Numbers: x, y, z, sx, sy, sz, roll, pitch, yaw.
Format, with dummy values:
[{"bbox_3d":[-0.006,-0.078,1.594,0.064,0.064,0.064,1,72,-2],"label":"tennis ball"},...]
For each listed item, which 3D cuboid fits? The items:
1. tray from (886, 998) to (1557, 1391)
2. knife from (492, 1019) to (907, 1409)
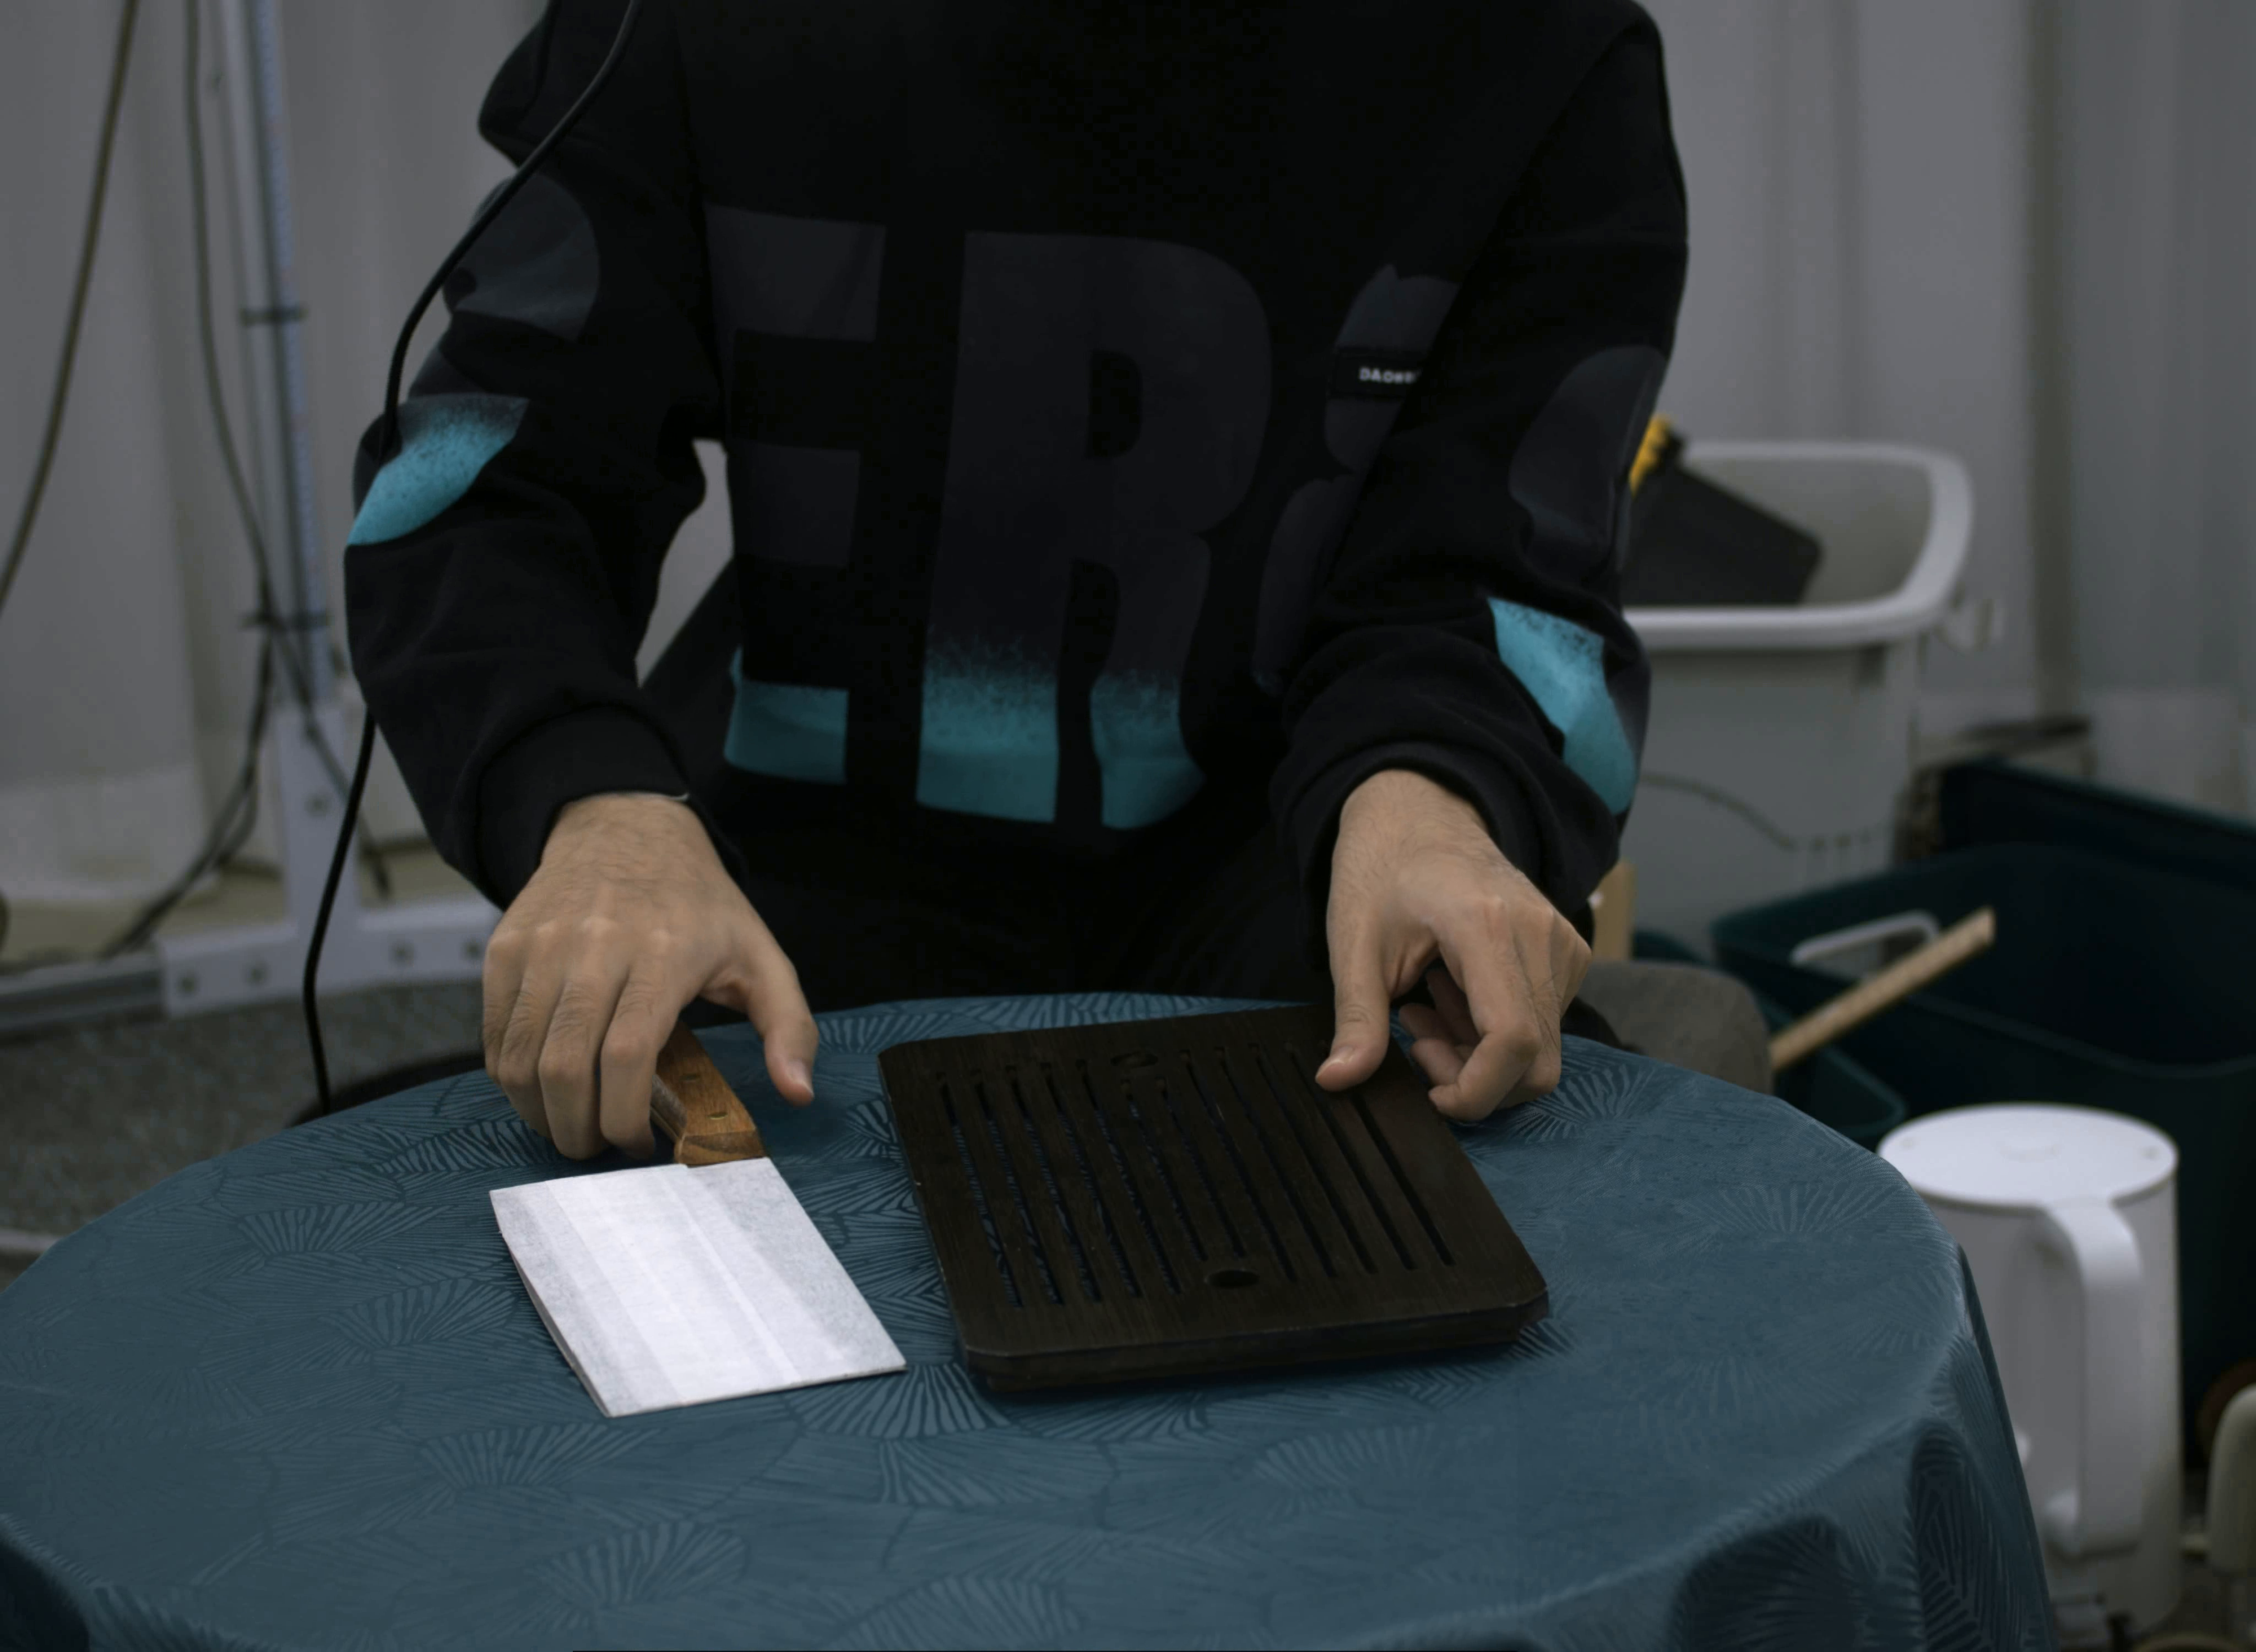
[{"bbox_3d":[0.021,0.111,1.690,0.169,0.018,0.308,-5,15,-6],"label":"tray"},{"bbox_3d":[-0.147,0.119,1.698,0.092,0.021,0.308,-9,18,-14],"label":"knife"}]
